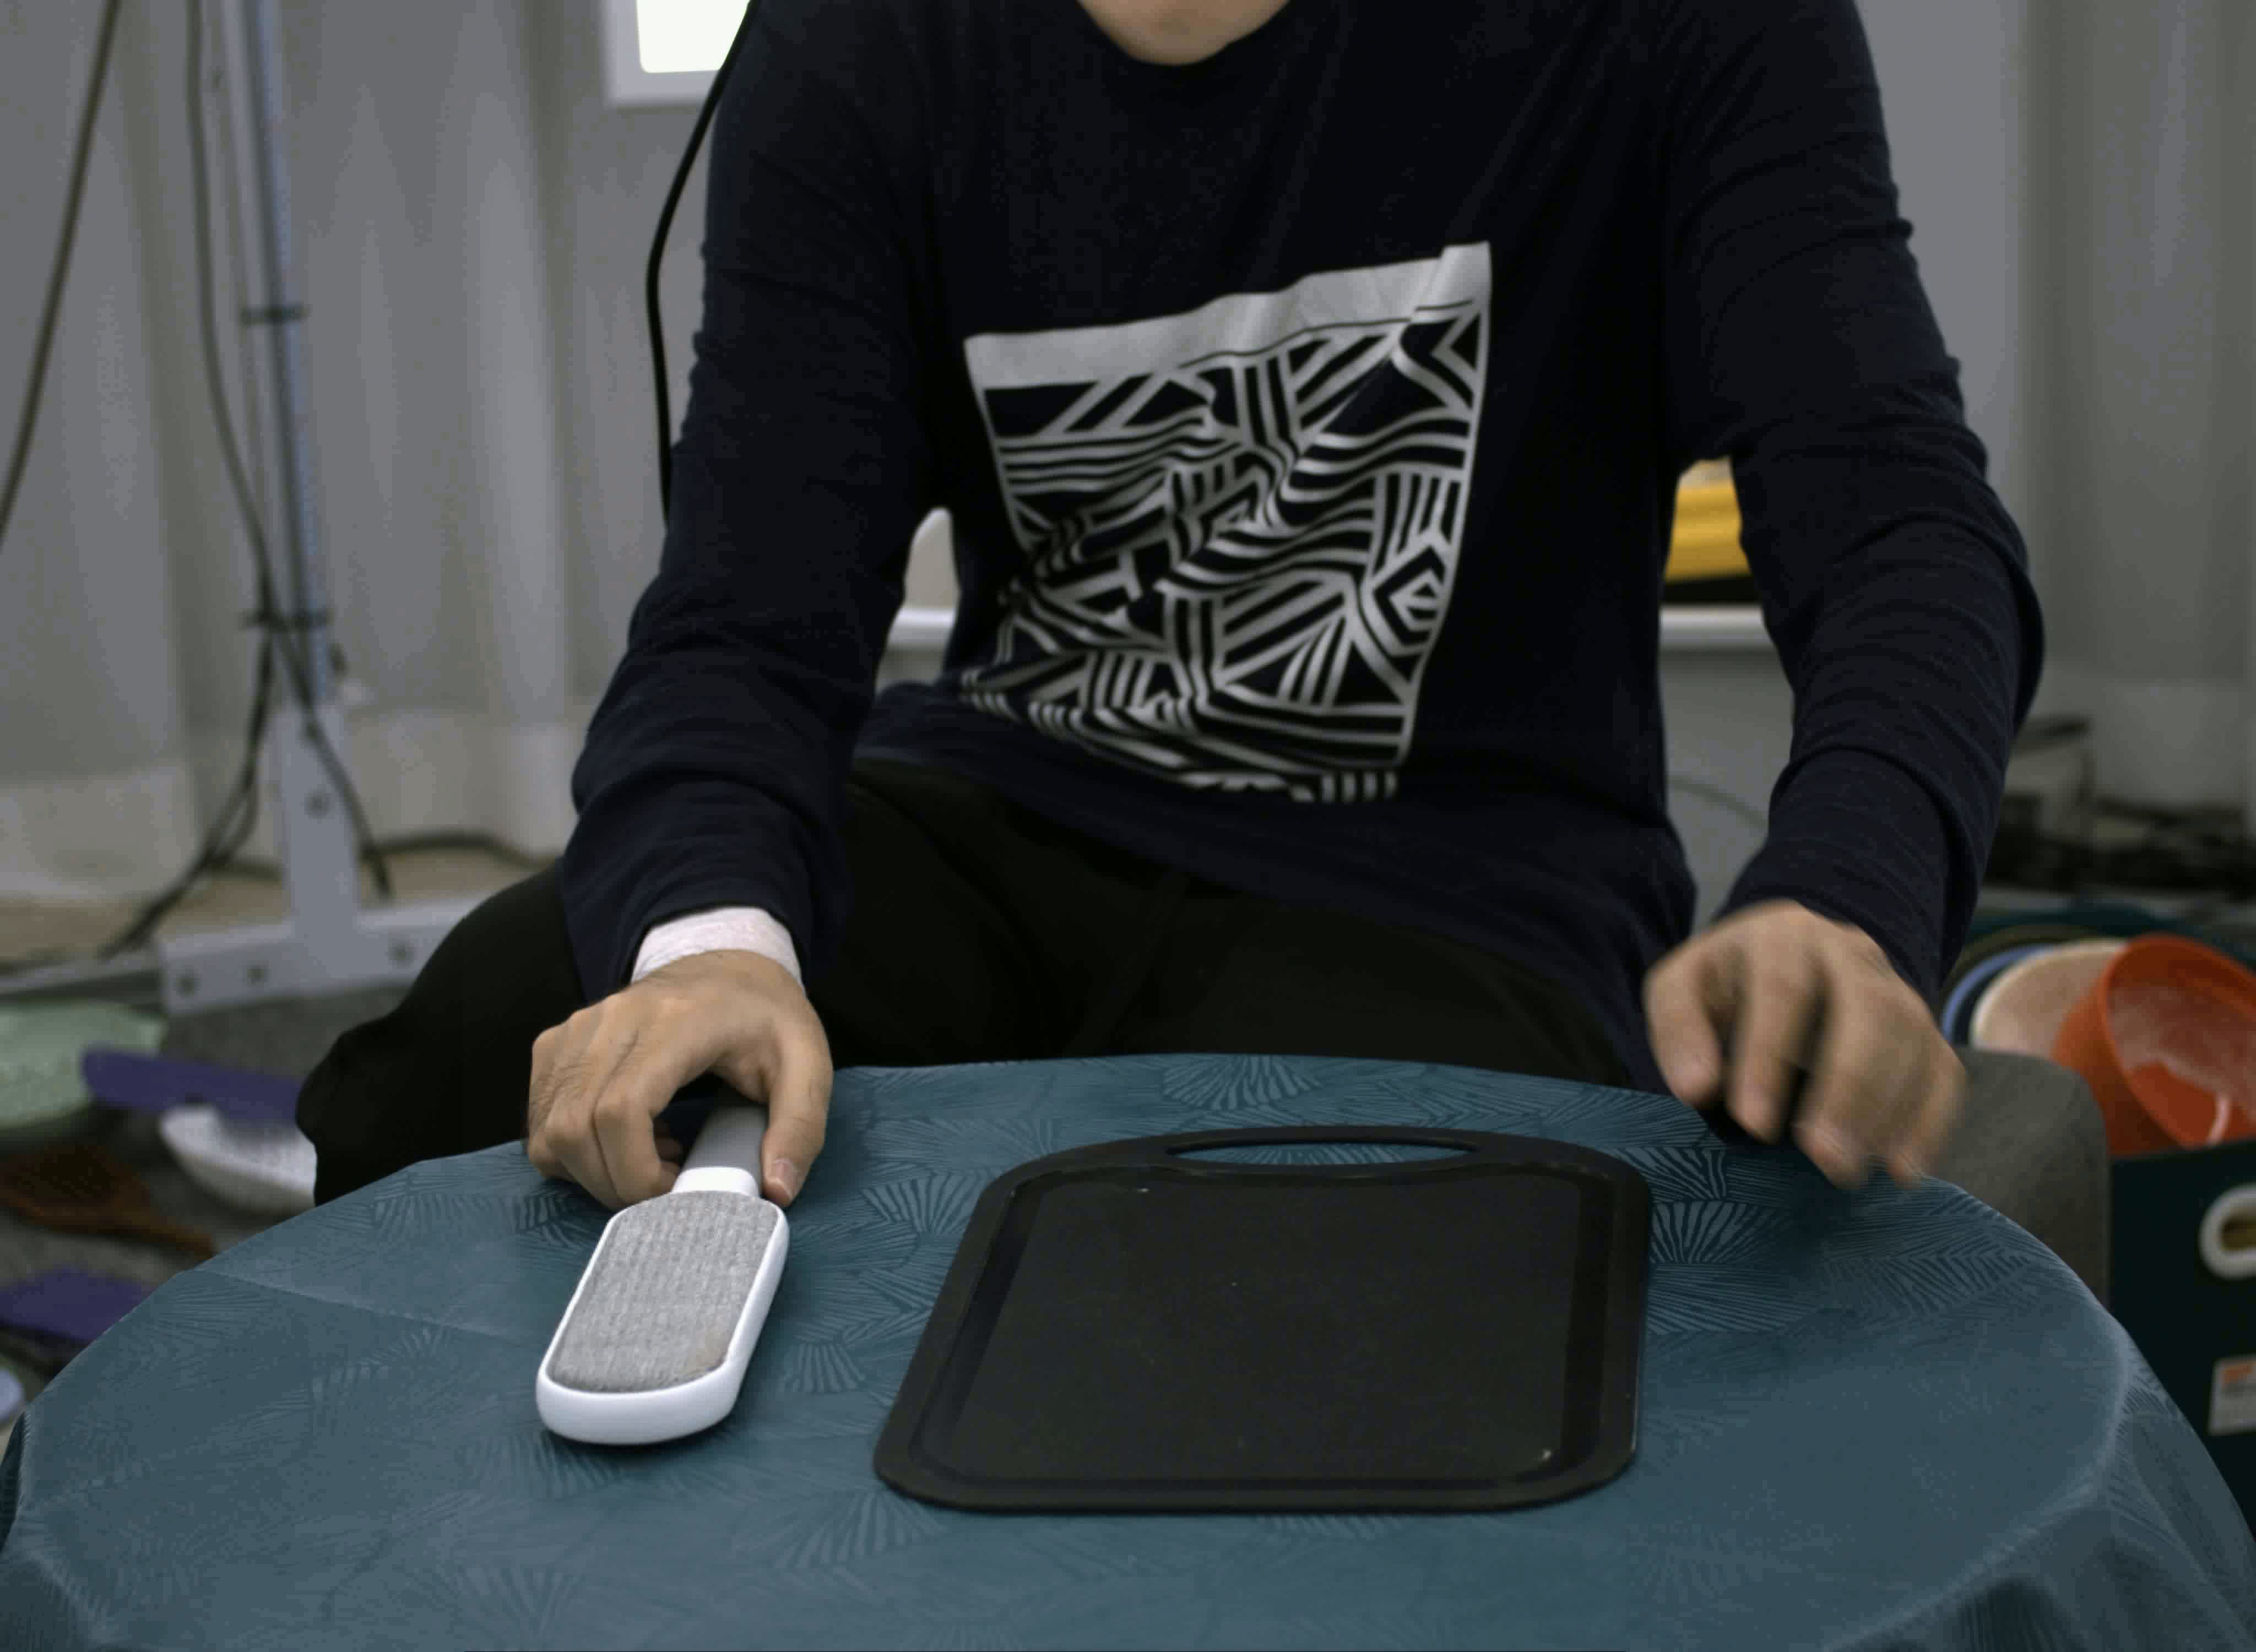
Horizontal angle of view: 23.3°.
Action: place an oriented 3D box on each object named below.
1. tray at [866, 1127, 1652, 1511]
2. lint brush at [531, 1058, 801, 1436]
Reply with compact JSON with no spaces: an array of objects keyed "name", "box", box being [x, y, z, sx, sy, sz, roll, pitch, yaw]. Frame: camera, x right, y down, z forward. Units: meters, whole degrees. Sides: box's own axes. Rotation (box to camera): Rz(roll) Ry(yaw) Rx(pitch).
[{"name":"tray","box":[0.045,0.138,1.608,0.210,0.010,0.327,-1,15,8]},{"name":"lint brush","box":[-0.129,0.123,1.657,0.060,0.021,0.311,-7,14,6]}]
